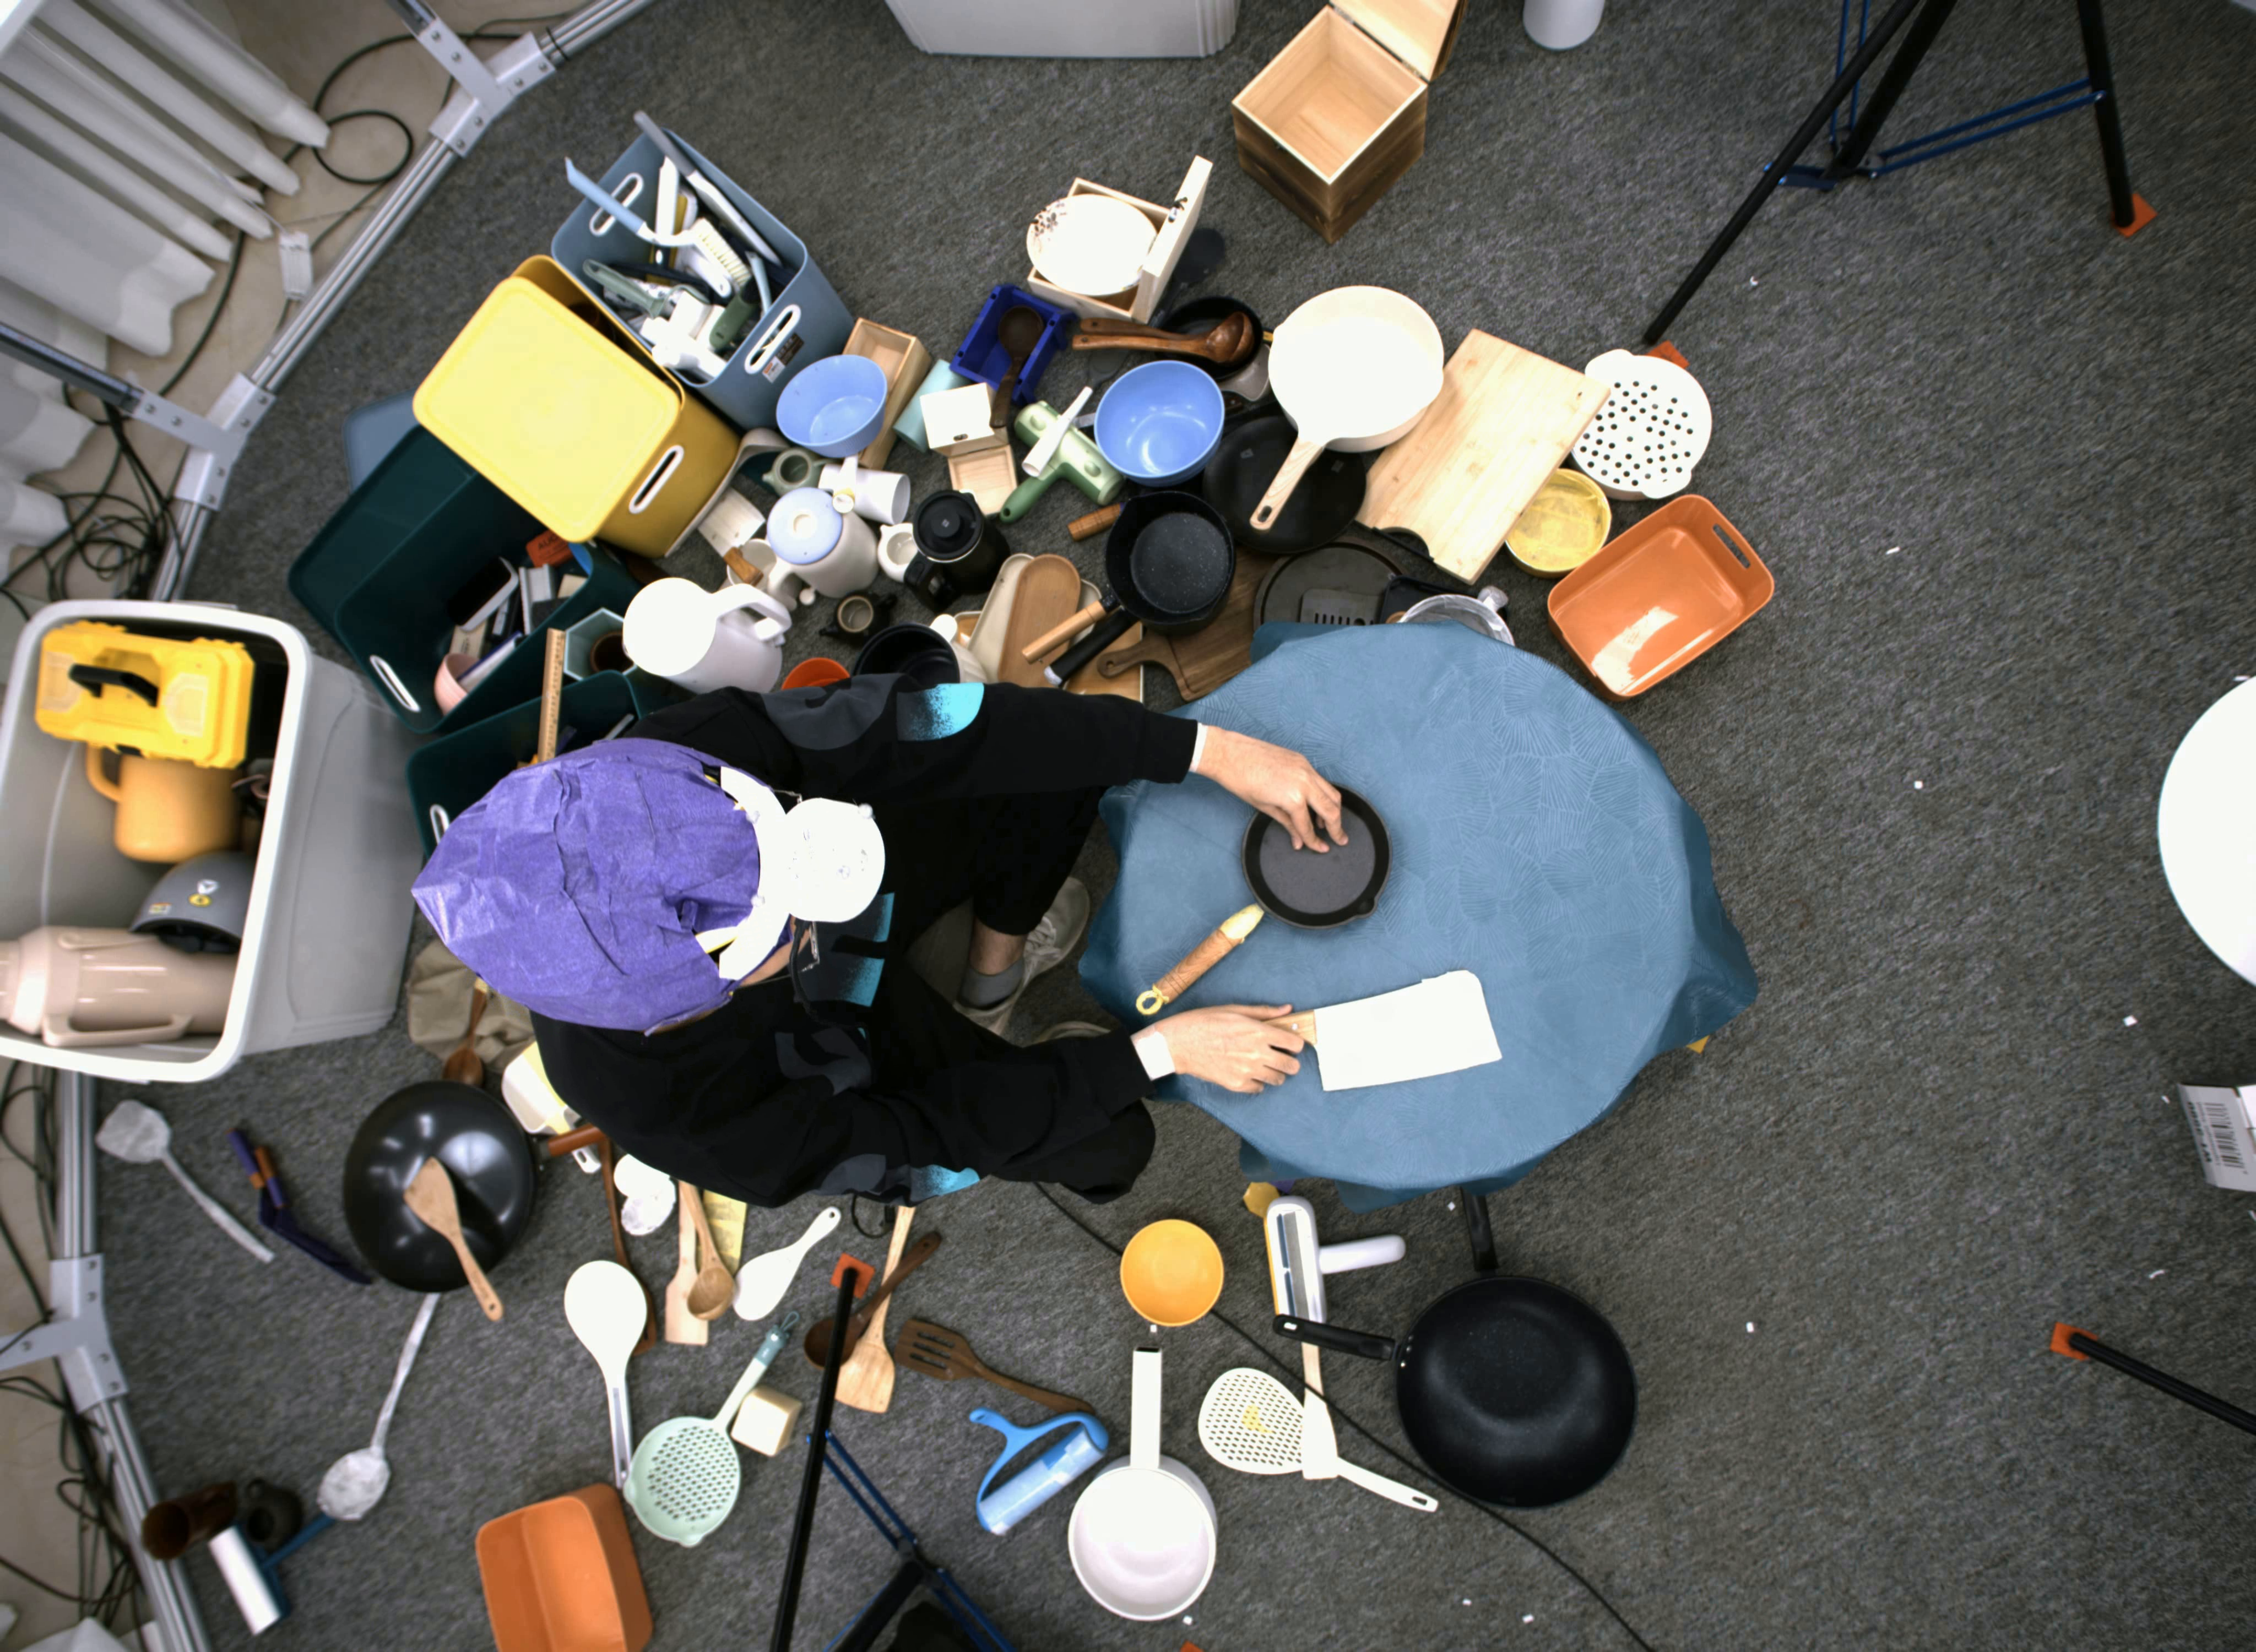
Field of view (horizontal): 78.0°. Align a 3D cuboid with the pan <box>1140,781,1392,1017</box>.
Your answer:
[{"bbox_3d":[0.135,0.086,1.459,0.325,0.049,0.168,-42,81,4],"label":"pan"}]

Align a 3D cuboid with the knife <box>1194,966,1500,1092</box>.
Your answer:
[{"bbox_3d":[0.226,0.218,1.451,0.317,0.022,0.113,-8,88,8],"label":"knife"}]
